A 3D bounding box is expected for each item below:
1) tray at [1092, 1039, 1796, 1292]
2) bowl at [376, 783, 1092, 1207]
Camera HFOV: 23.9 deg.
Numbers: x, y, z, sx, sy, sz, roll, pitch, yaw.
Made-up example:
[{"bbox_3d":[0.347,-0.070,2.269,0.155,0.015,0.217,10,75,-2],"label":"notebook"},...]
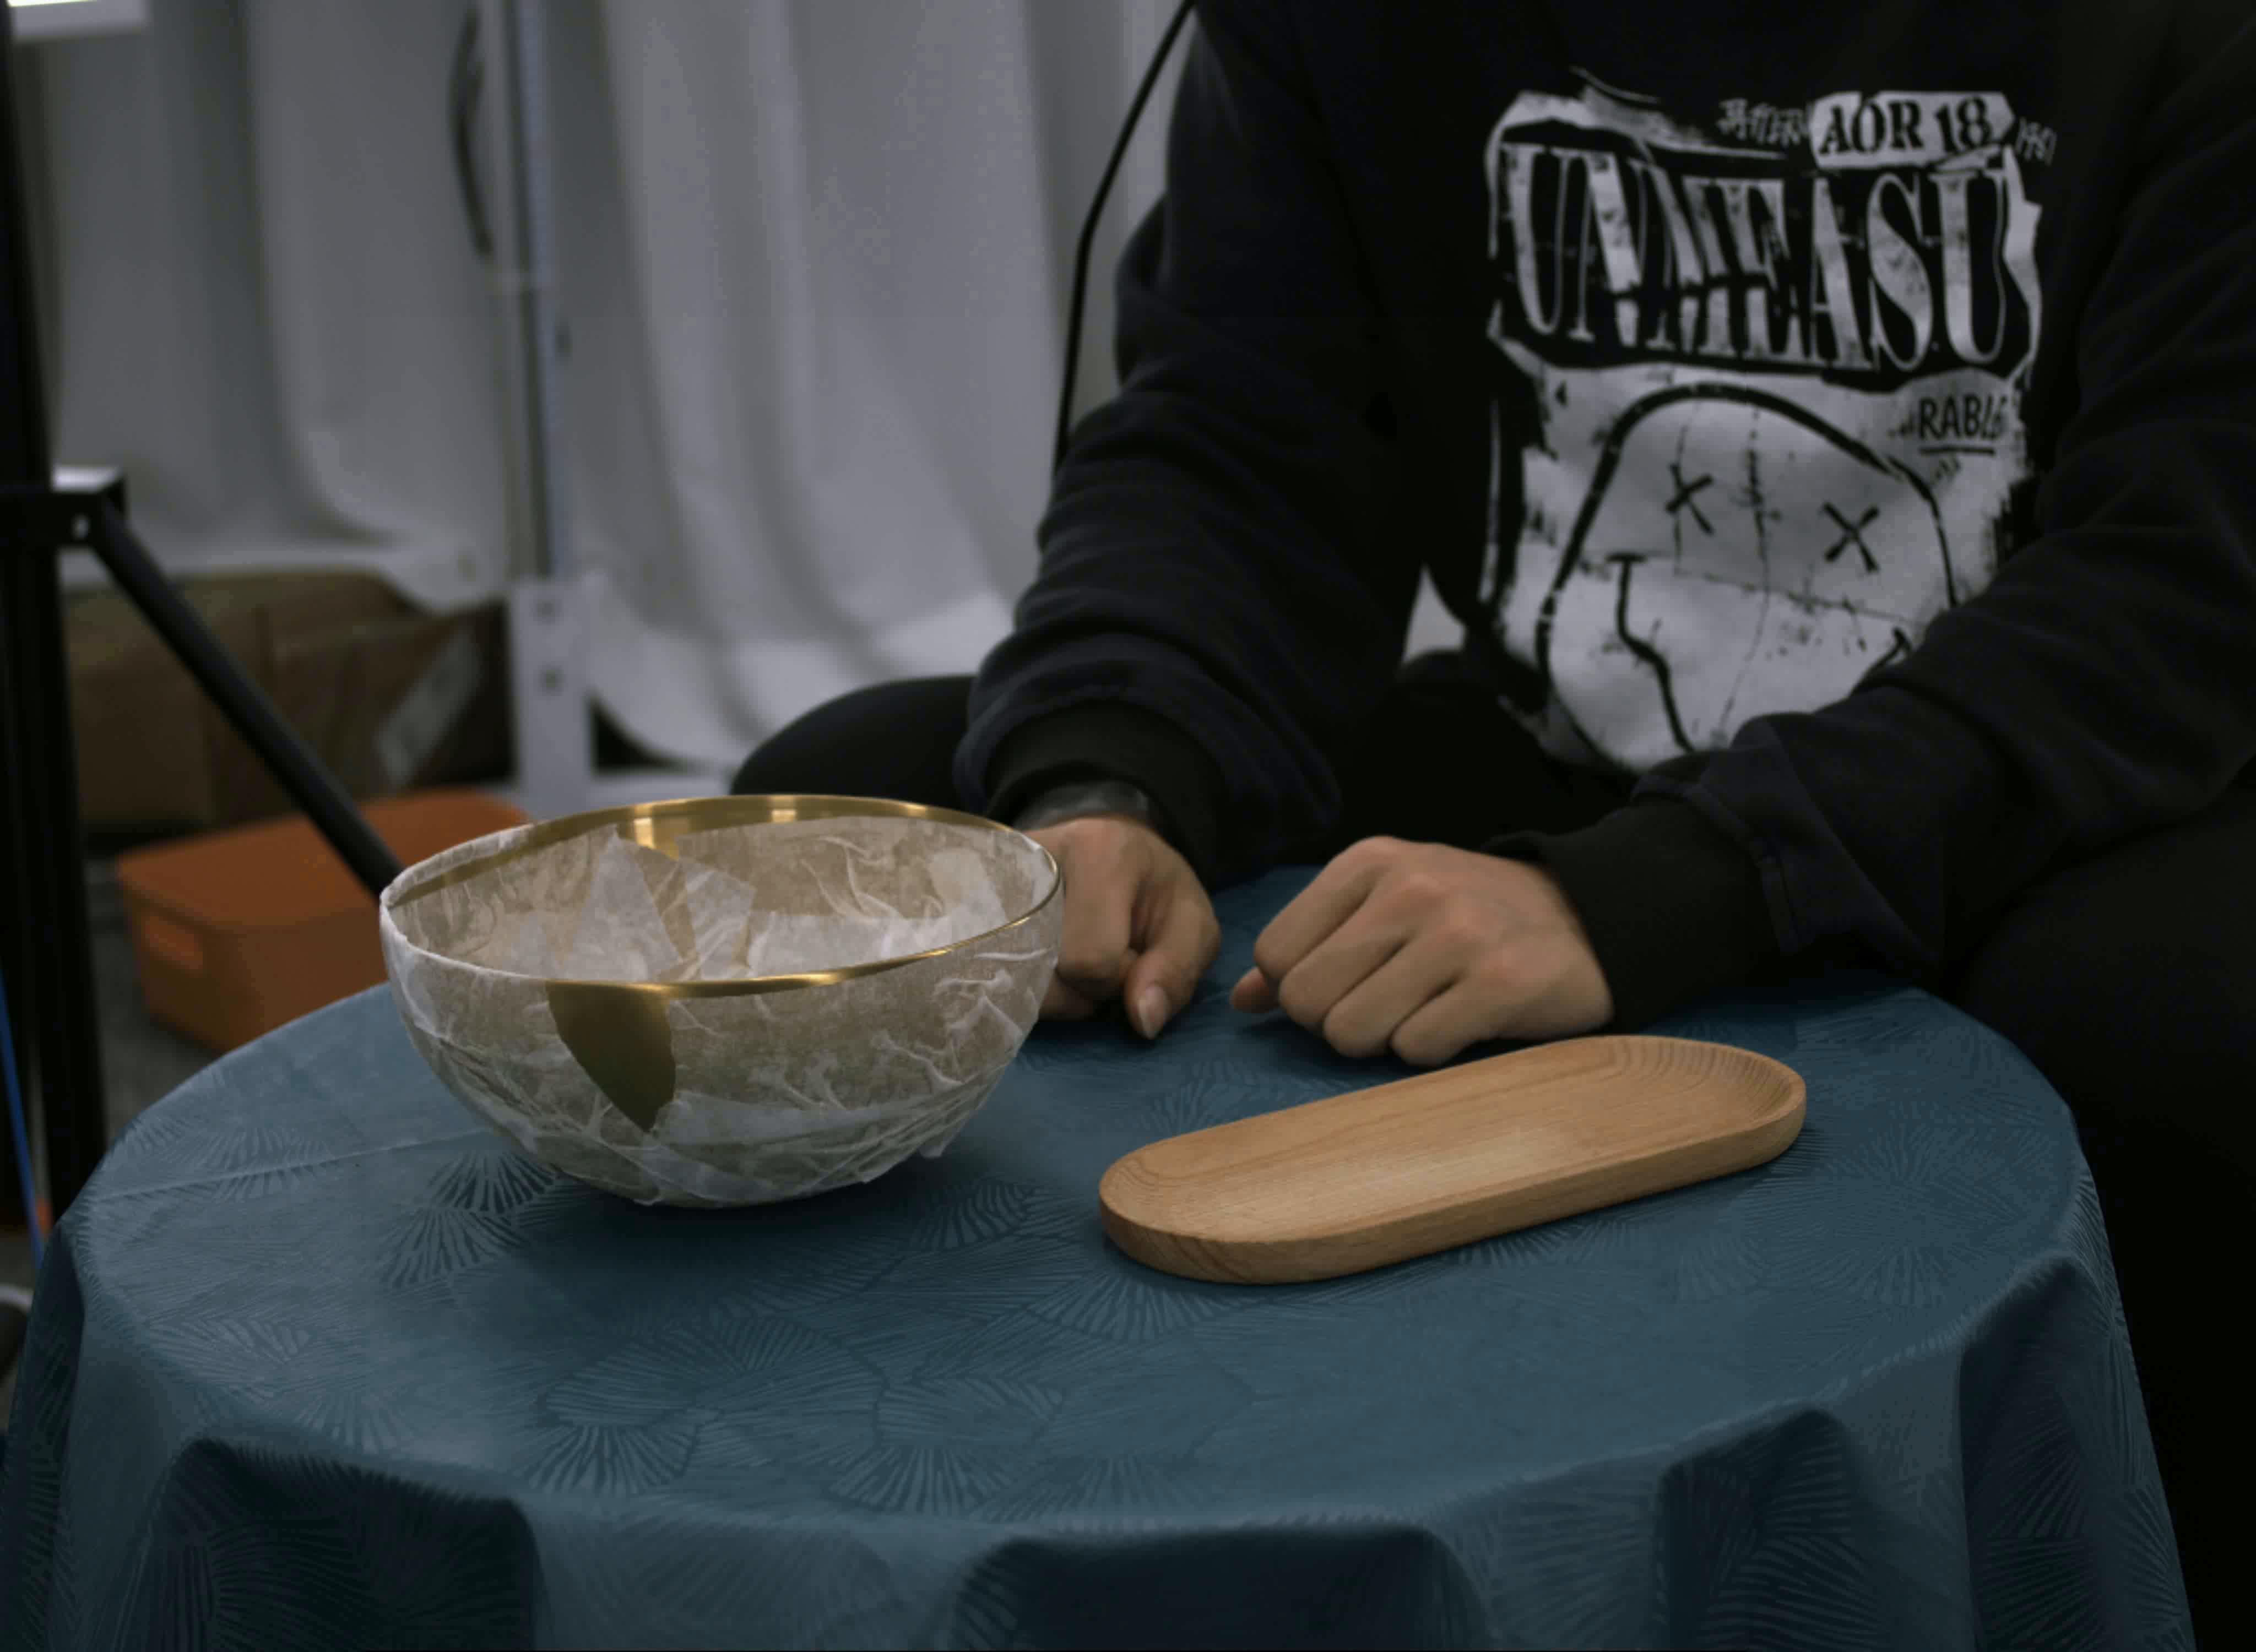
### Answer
[{"bbox_3d":[0.095,0.099,1.548,0.226,0.020,0.104,-14,17,-30],"label":"tray"},{"bbox_3d":[-0.113,0.058,1.579,0.213,0.094,0.216,-4,15,0],"label":"bowl"}]
